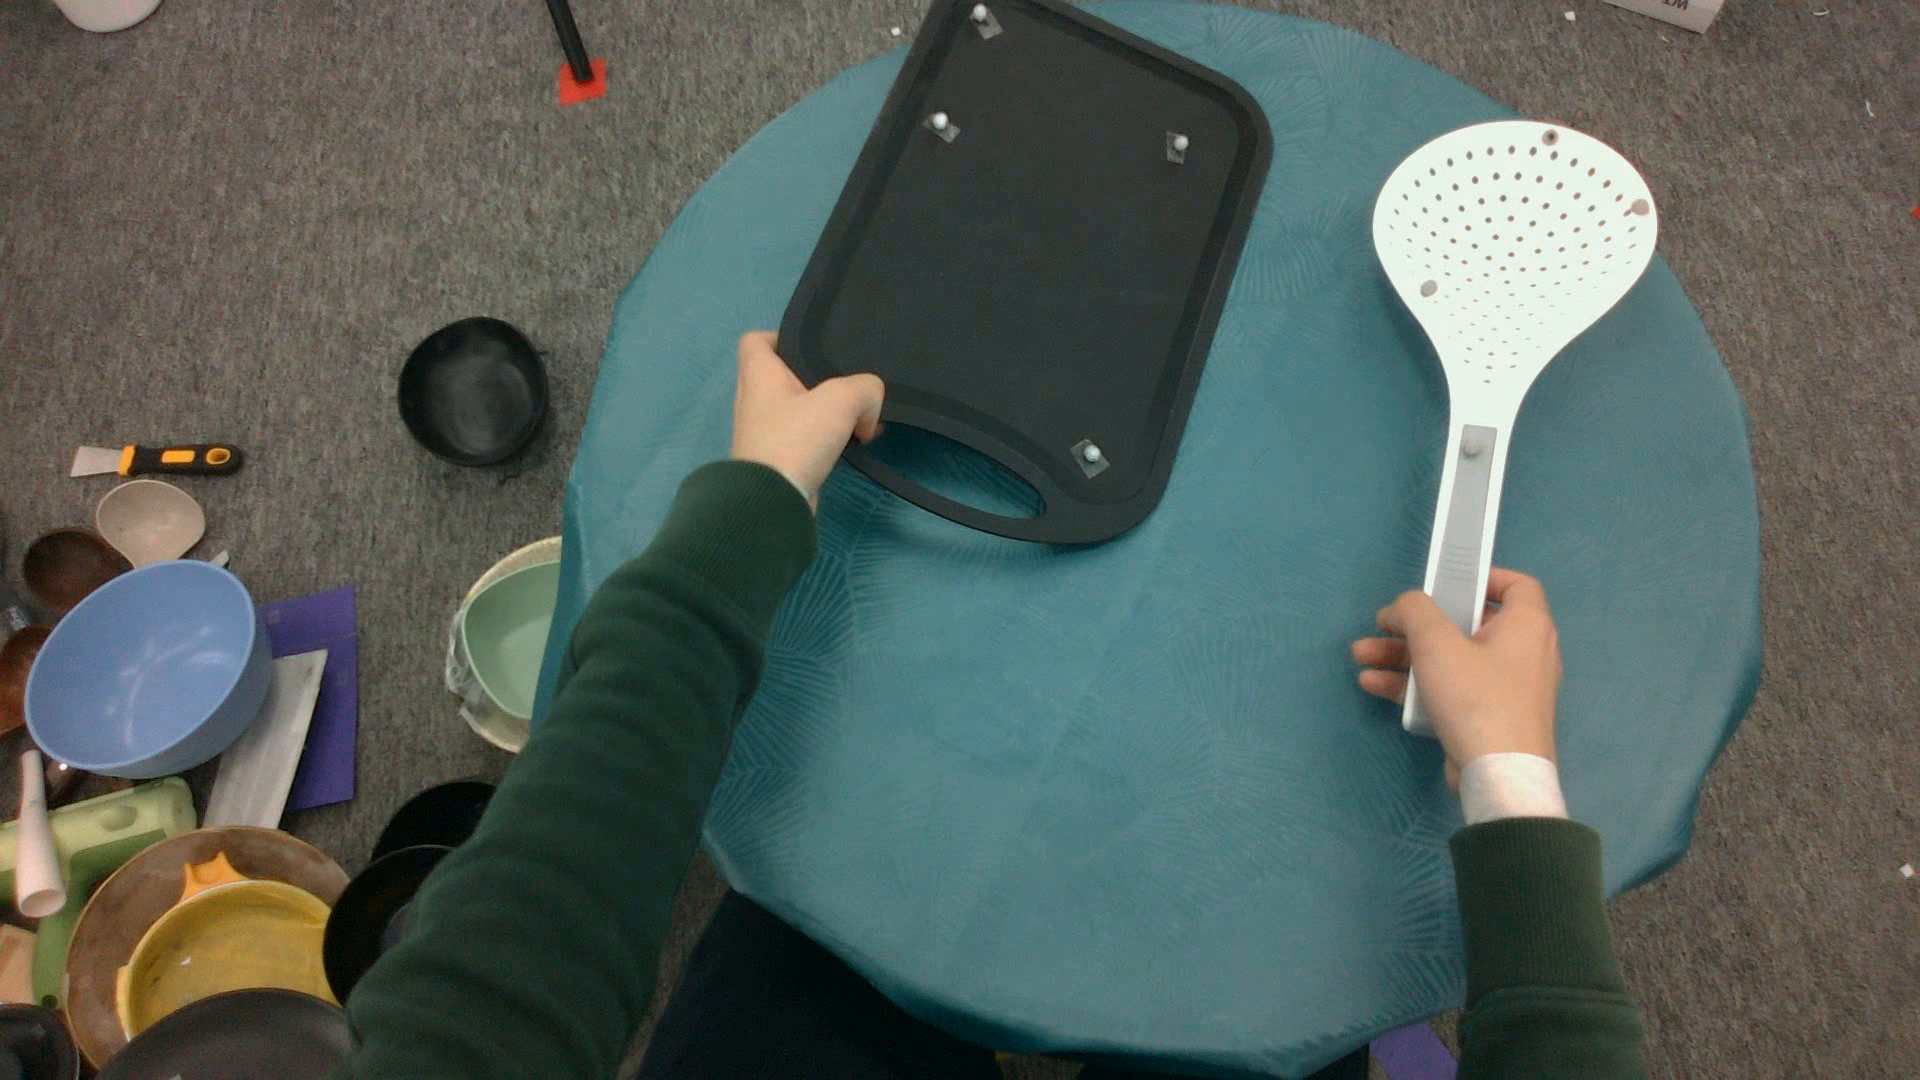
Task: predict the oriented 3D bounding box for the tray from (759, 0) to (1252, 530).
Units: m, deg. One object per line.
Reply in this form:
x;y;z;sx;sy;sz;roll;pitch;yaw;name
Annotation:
0.032;-0.159;0.724;0.211;0.010;0.326;23;66;-5;tray

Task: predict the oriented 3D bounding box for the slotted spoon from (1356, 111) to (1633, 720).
0.248;-0.075;0.677;0.136;0.045;0.351;8;59;20;slotted spoon
